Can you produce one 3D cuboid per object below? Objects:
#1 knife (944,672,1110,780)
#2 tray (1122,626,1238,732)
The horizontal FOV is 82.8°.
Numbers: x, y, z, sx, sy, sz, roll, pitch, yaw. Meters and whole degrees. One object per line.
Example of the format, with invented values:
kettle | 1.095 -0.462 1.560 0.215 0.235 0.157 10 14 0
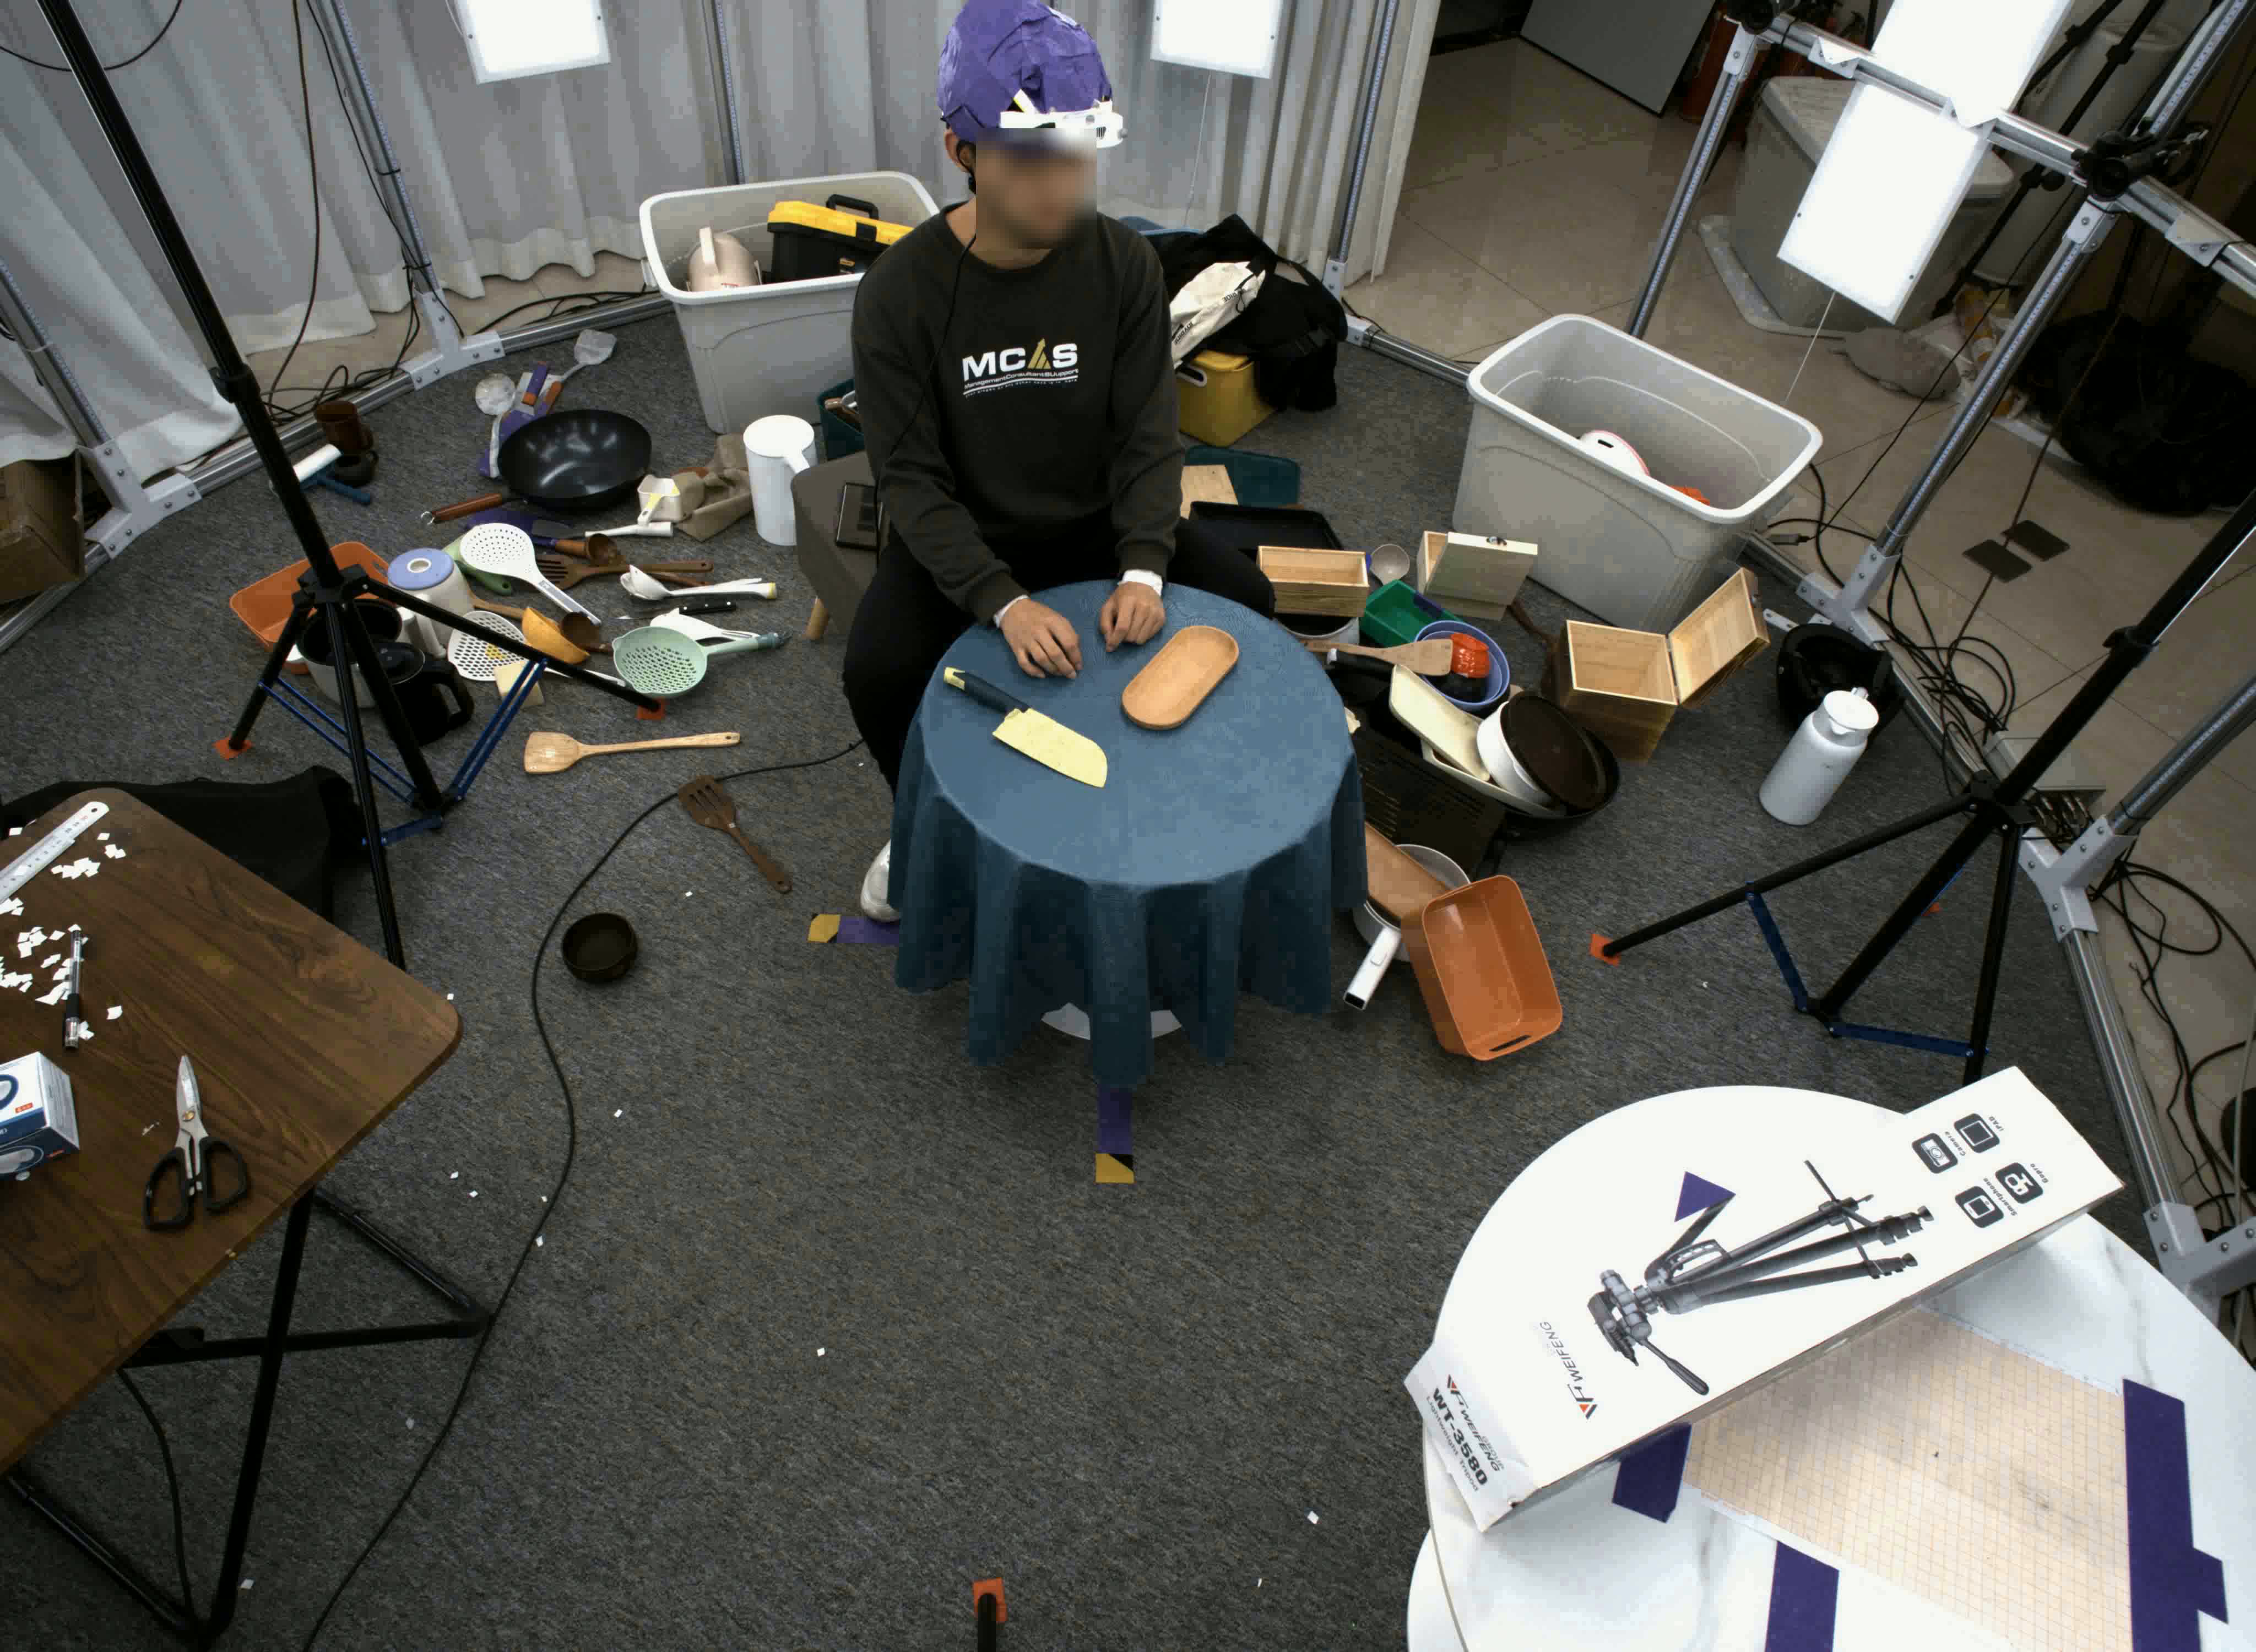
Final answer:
knife | -0.145 -0.136 1.766 0.292 0.026 0.082 30 52 20
tray | 0.076 -0.213 1.847 0.102 0.020 0.234 26 54 20
